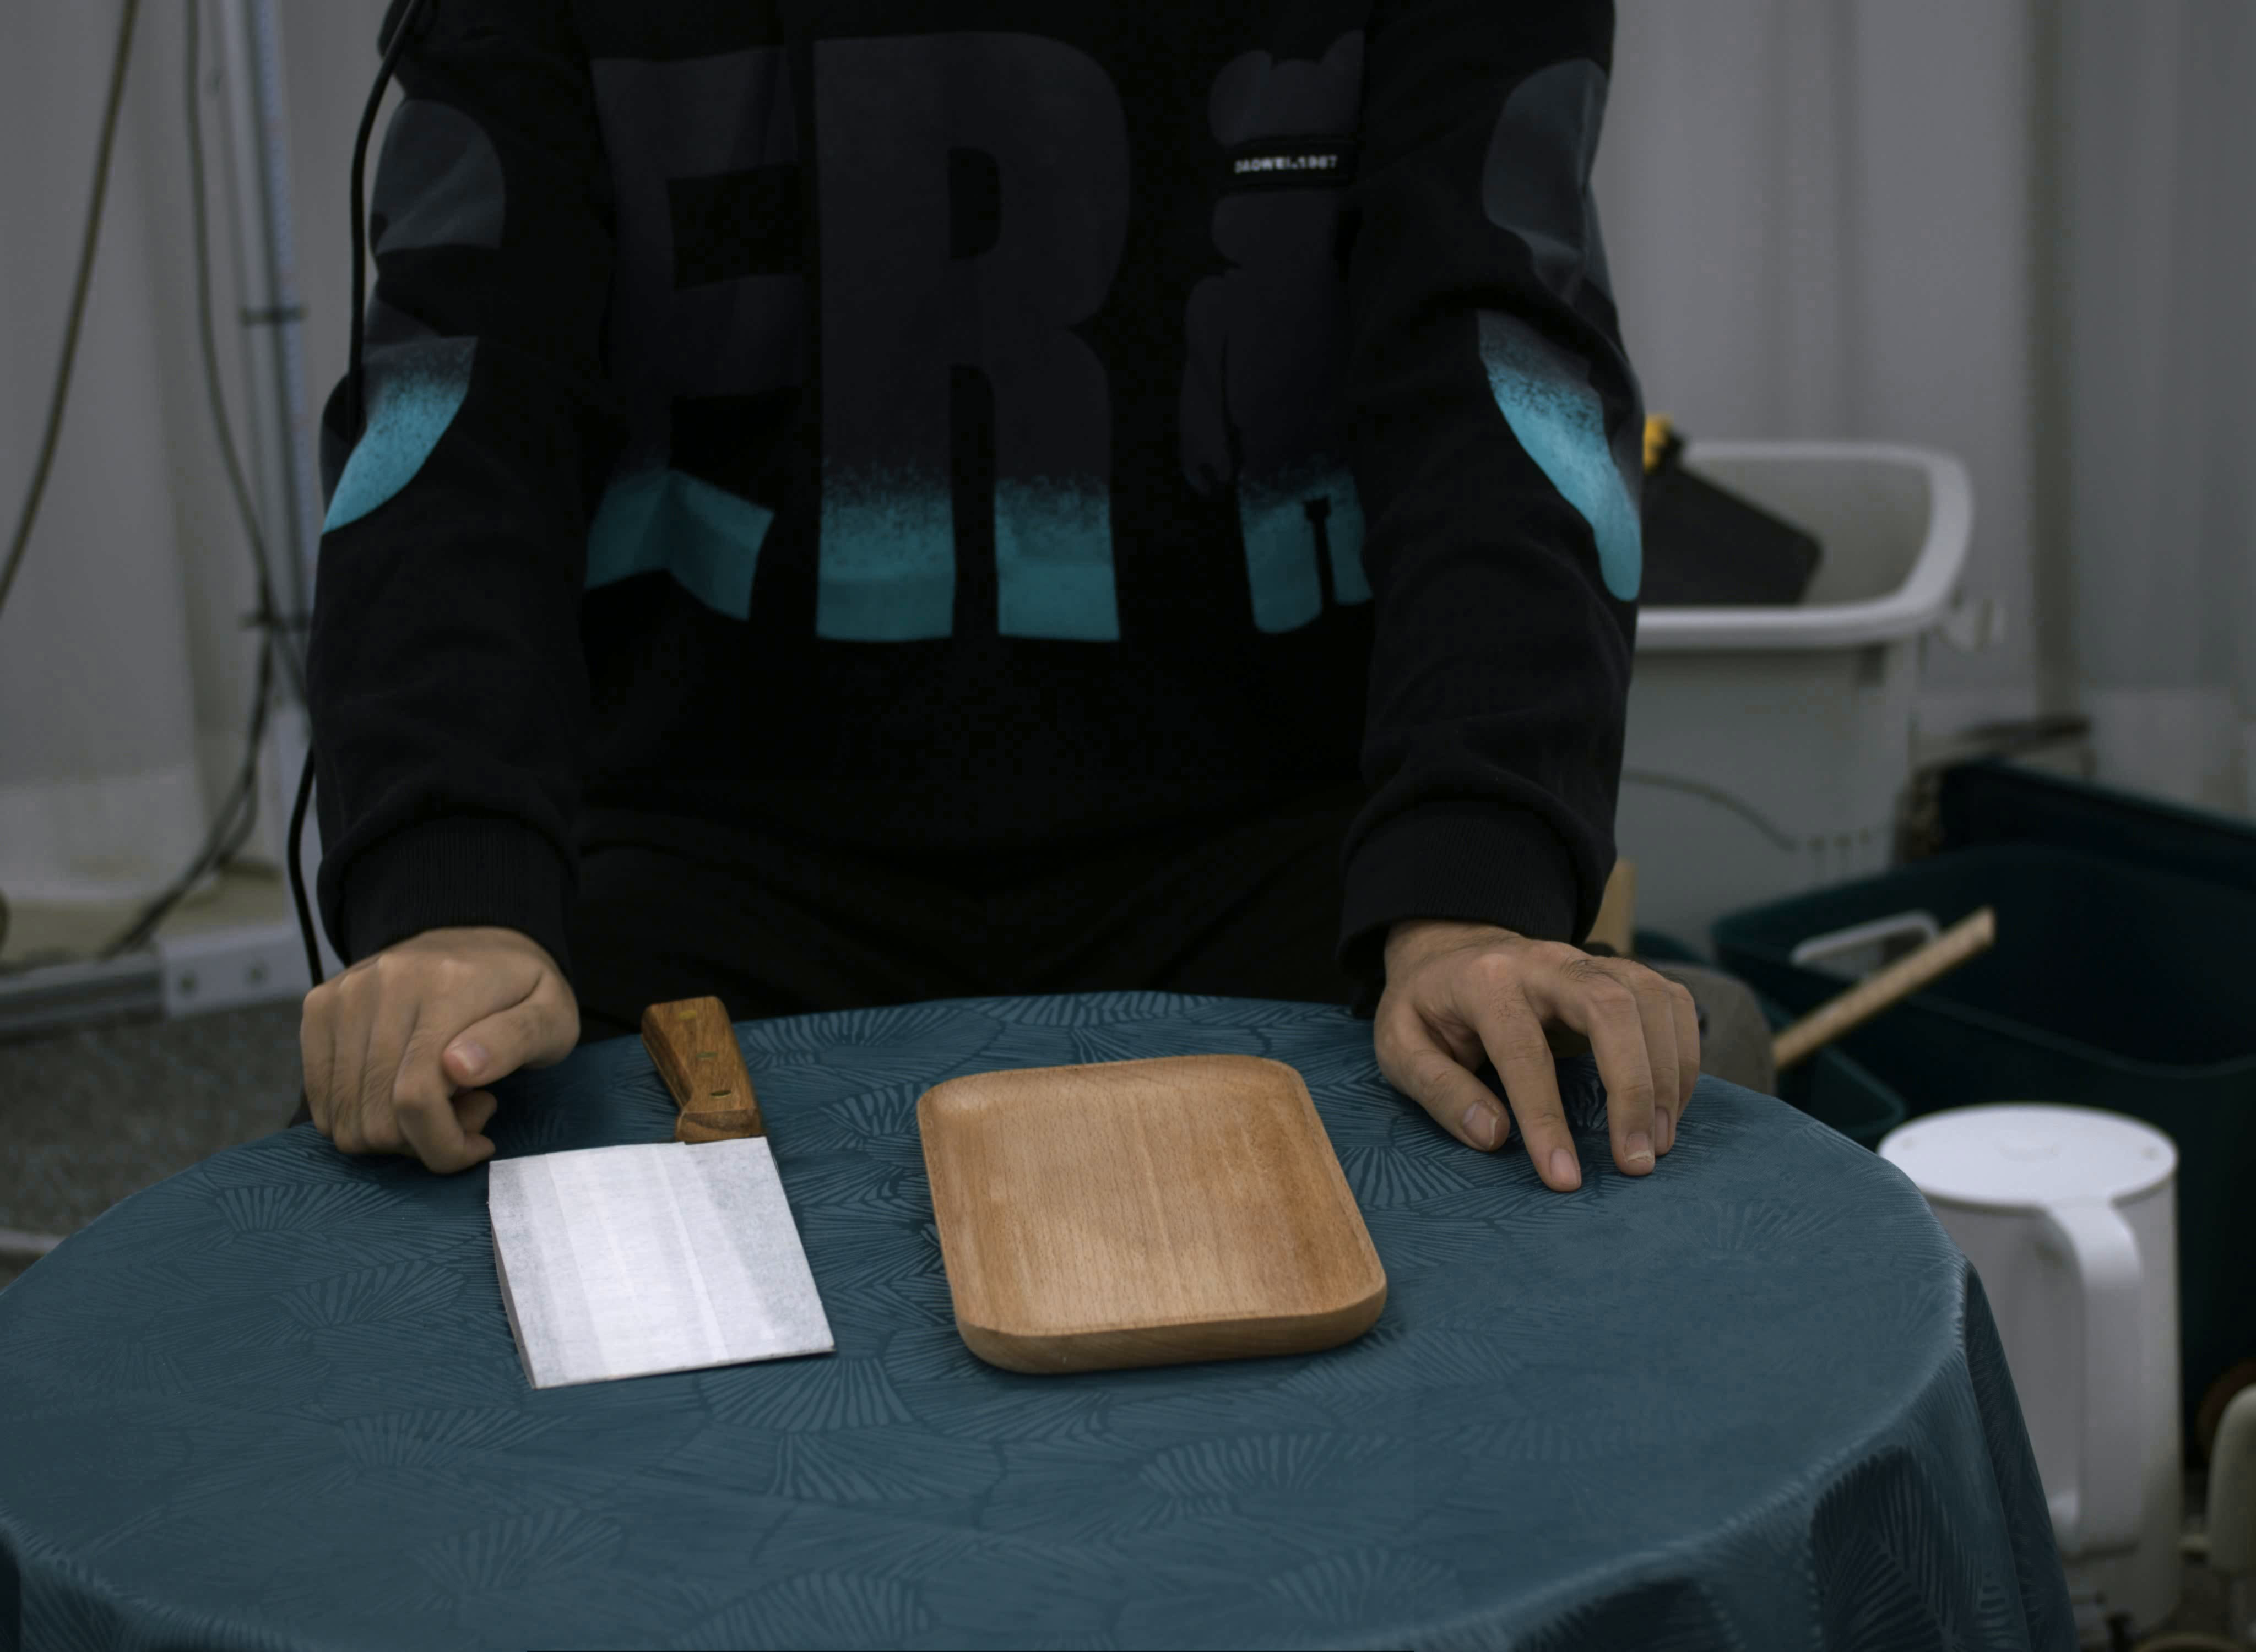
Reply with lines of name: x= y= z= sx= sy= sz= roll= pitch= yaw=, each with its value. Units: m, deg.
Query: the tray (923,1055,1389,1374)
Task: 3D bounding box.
tray: x=0.005 y=0.116 z=1.677 sx=0.130 sy=0.023 sz=0.252 roll=-2 pitch=14 yaw=-3

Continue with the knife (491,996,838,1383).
knife: x=-0.153 y=0.113 z=1.722 sx=0.092 sy=0.021 sz=0.308 roll=-7 pitch=18 yaw=-8
